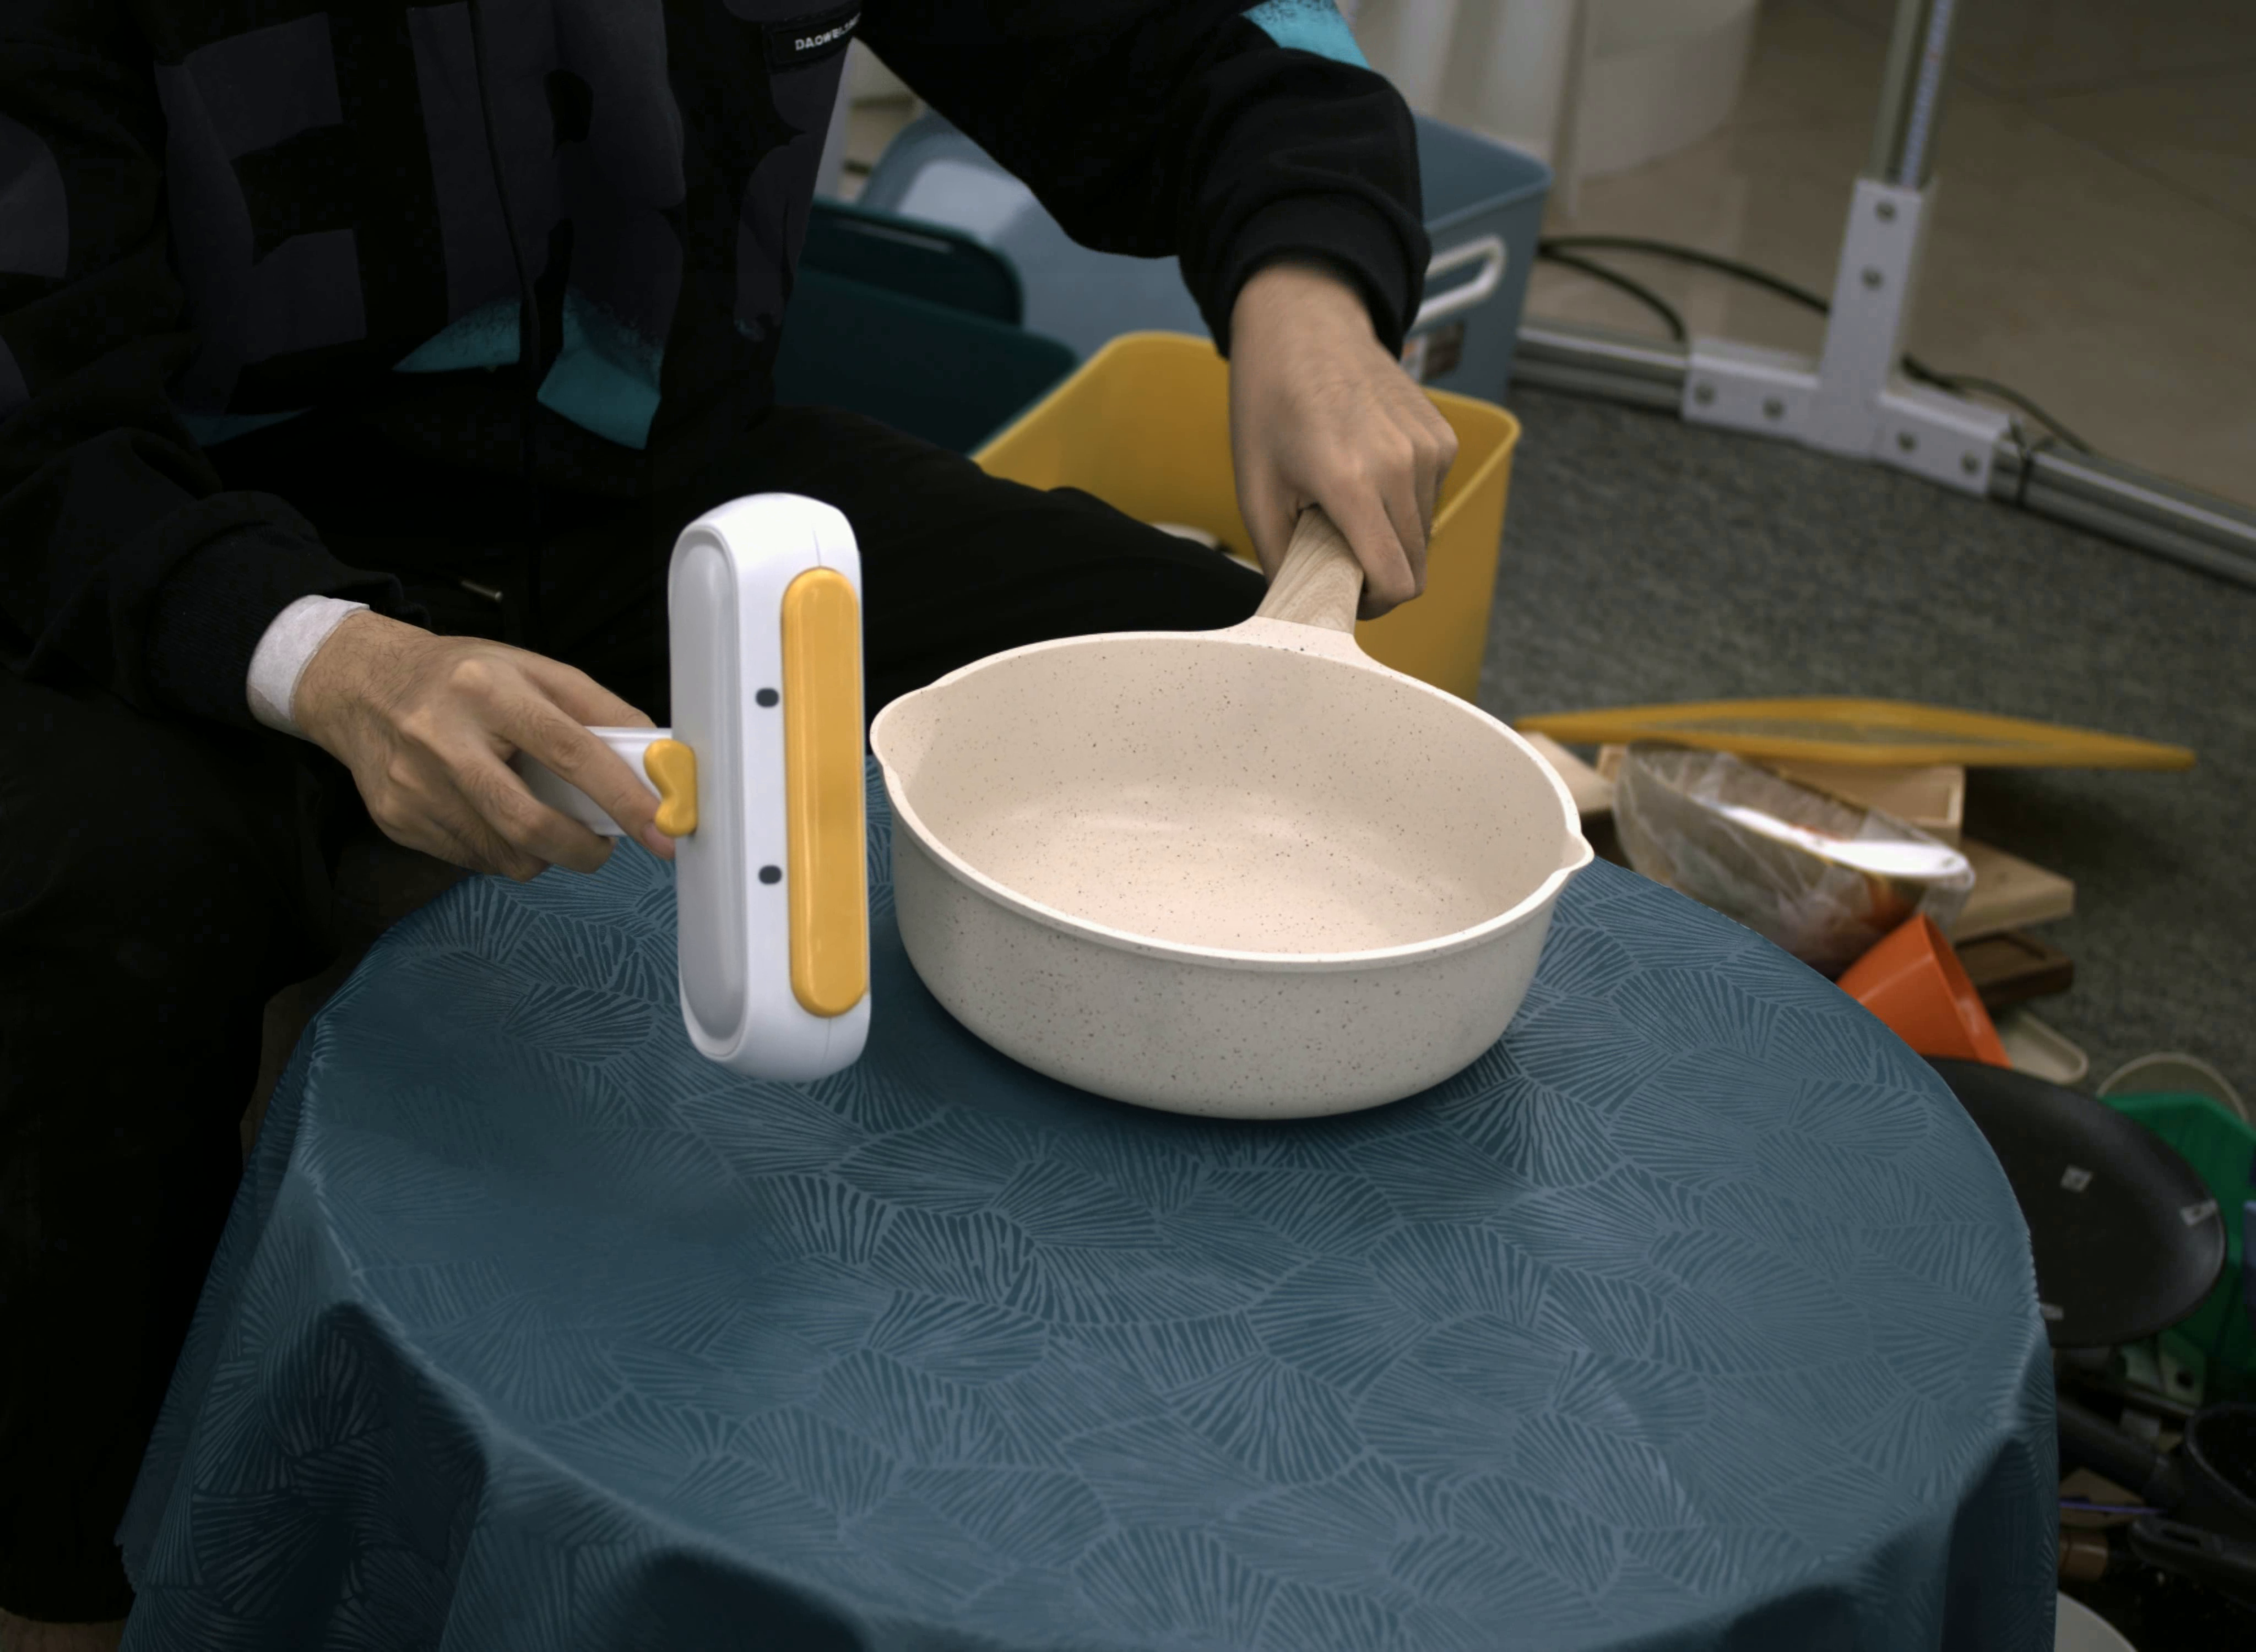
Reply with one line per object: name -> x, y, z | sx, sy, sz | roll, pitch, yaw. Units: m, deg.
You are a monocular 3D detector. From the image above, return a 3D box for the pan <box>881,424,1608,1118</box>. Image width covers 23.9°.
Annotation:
pan -> 0.057, -0.024, 1.992 | 0.263, 0.101, 0.436 | 8, 27, 9

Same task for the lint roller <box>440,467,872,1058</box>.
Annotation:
lint roller -> -0.159, -0.017, 1.780 | 0.073, 0.193, 0.193 | -9, 3, -37
